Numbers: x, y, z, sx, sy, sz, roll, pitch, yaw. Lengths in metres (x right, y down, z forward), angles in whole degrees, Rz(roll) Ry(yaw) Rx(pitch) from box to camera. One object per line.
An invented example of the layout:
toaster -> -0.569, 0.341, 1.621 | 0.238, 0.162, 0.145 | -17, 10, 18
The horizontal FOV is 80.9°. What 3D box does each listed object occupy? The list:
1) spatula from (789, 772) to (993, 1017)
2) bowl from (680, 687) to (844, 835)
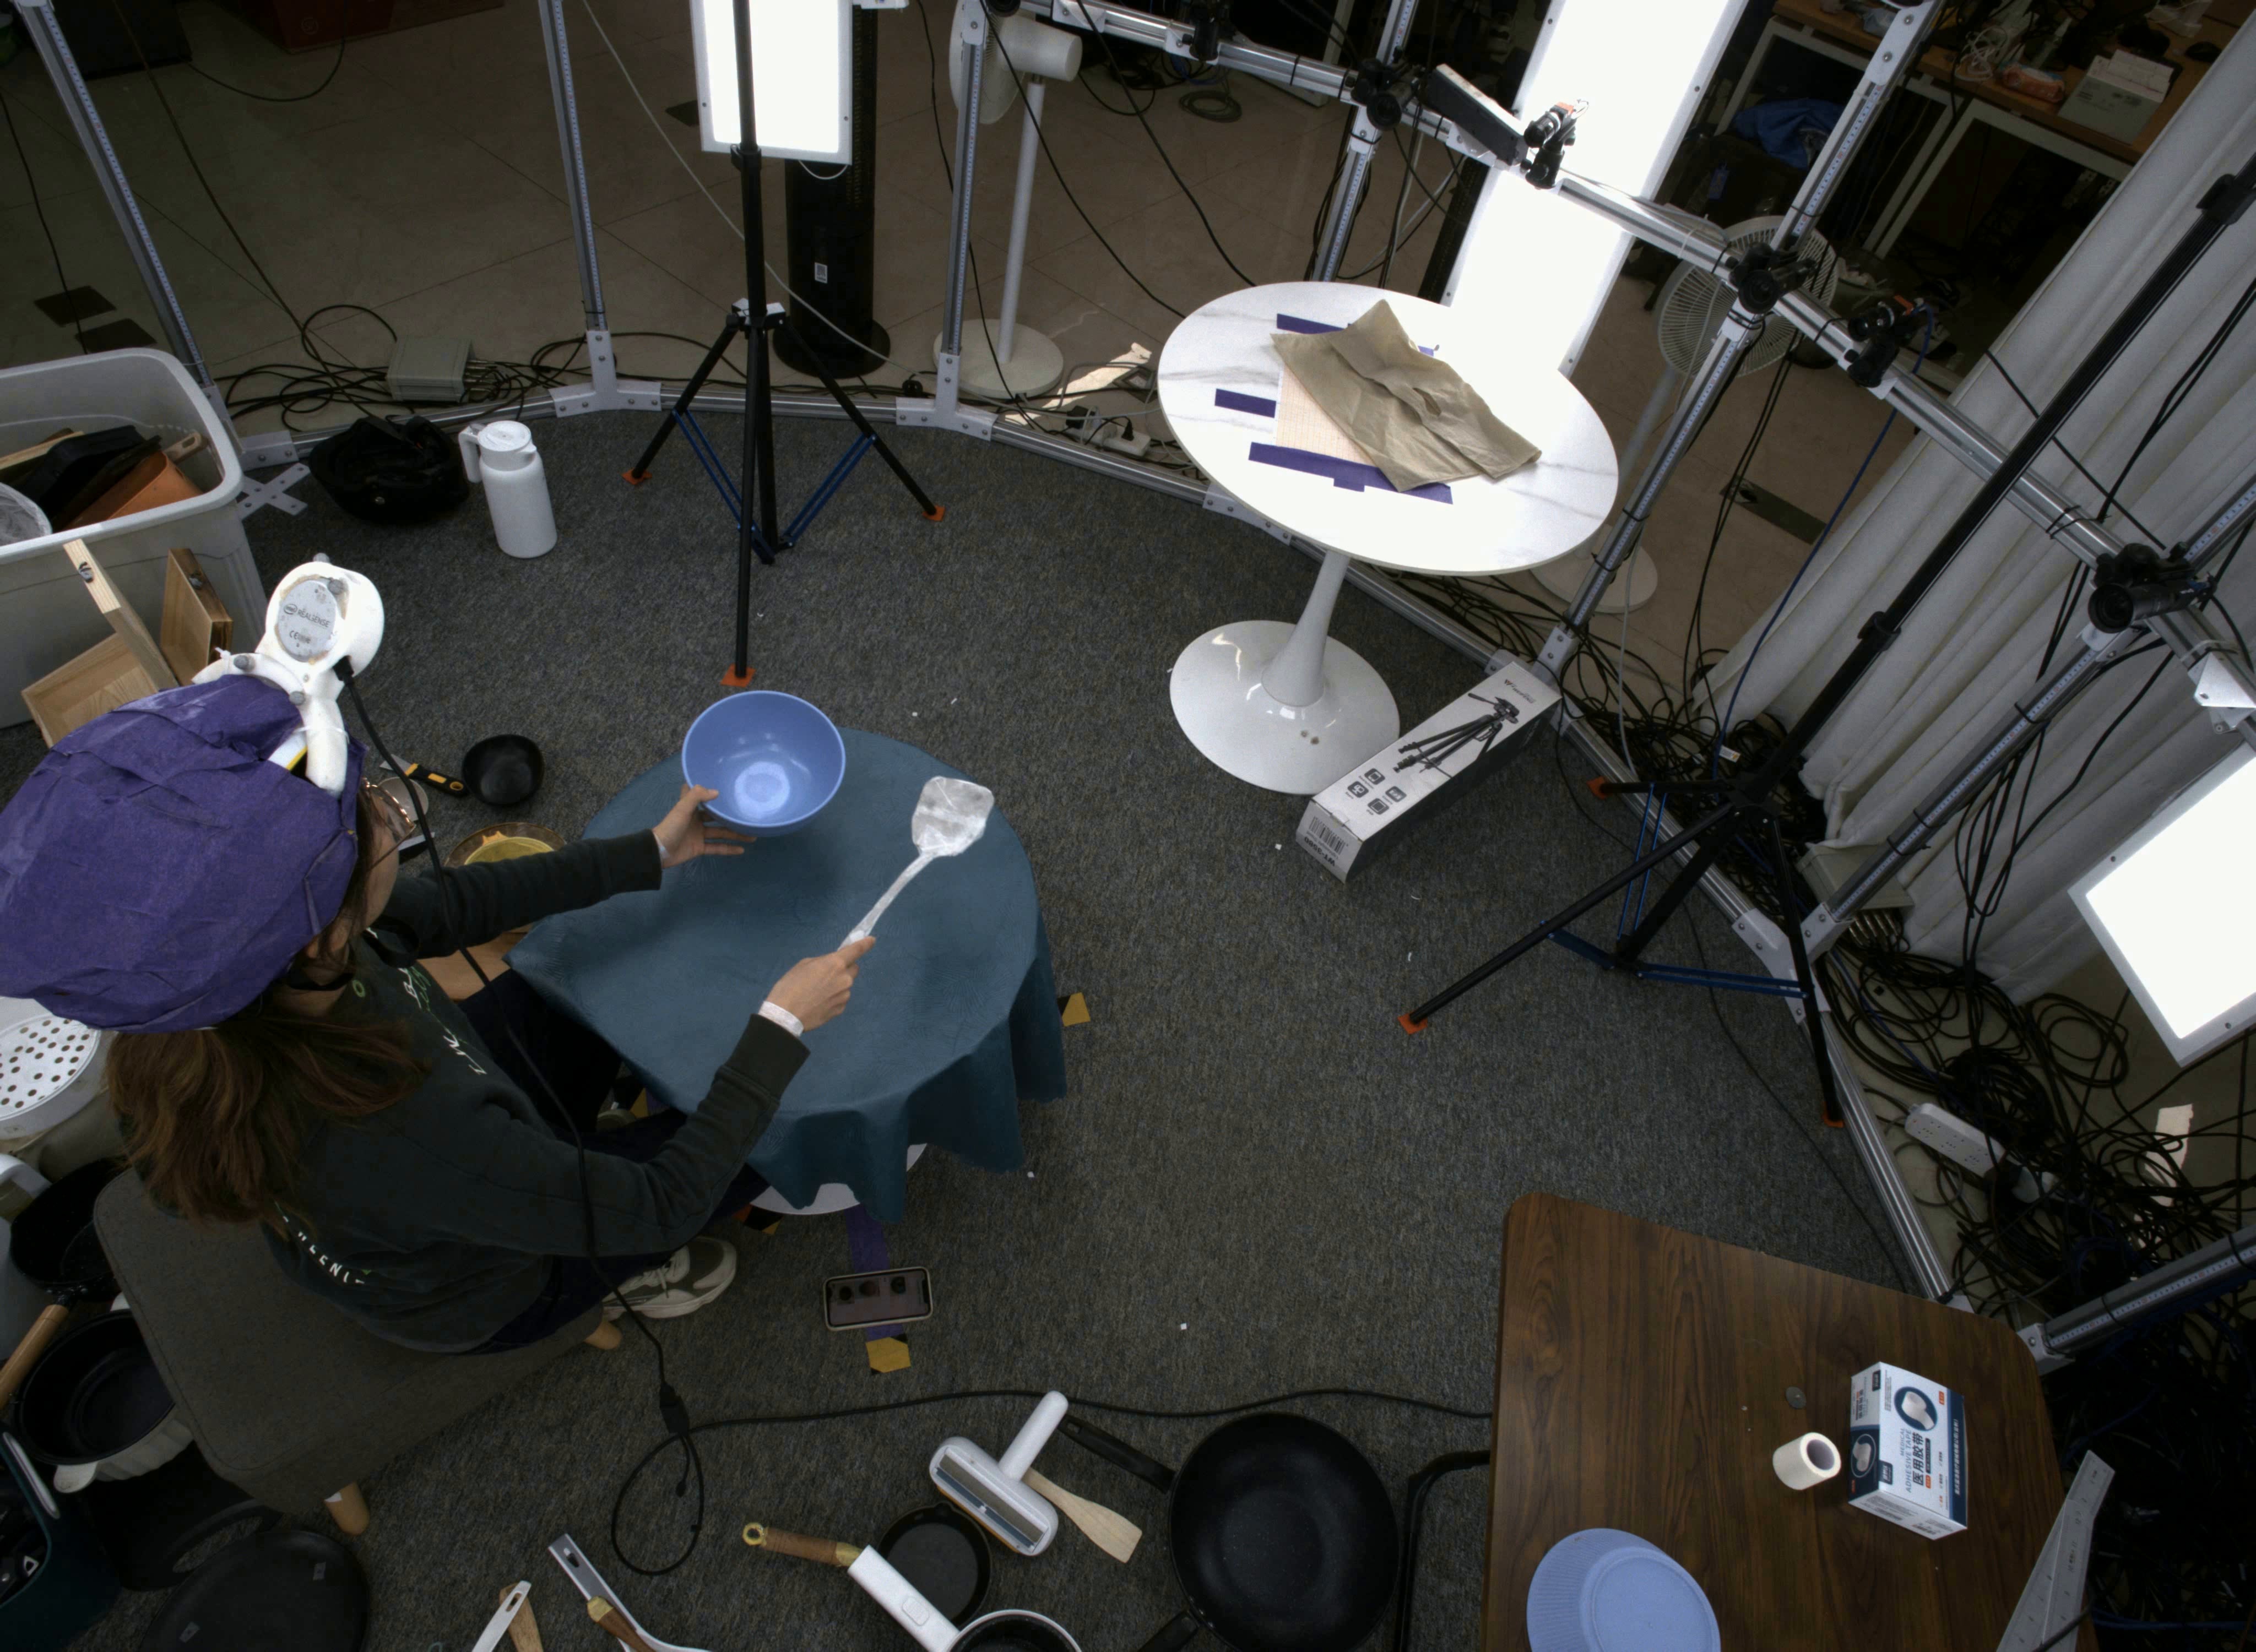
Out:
spatula -> -0.276, 0.072, 1.486 | 0.096, 0.046, 0.363 | 18, 49, 20
bowl -> -0.459, -0.066, 1.624 | 0.197, 0.096, 0.194 | 9, 59, -14
